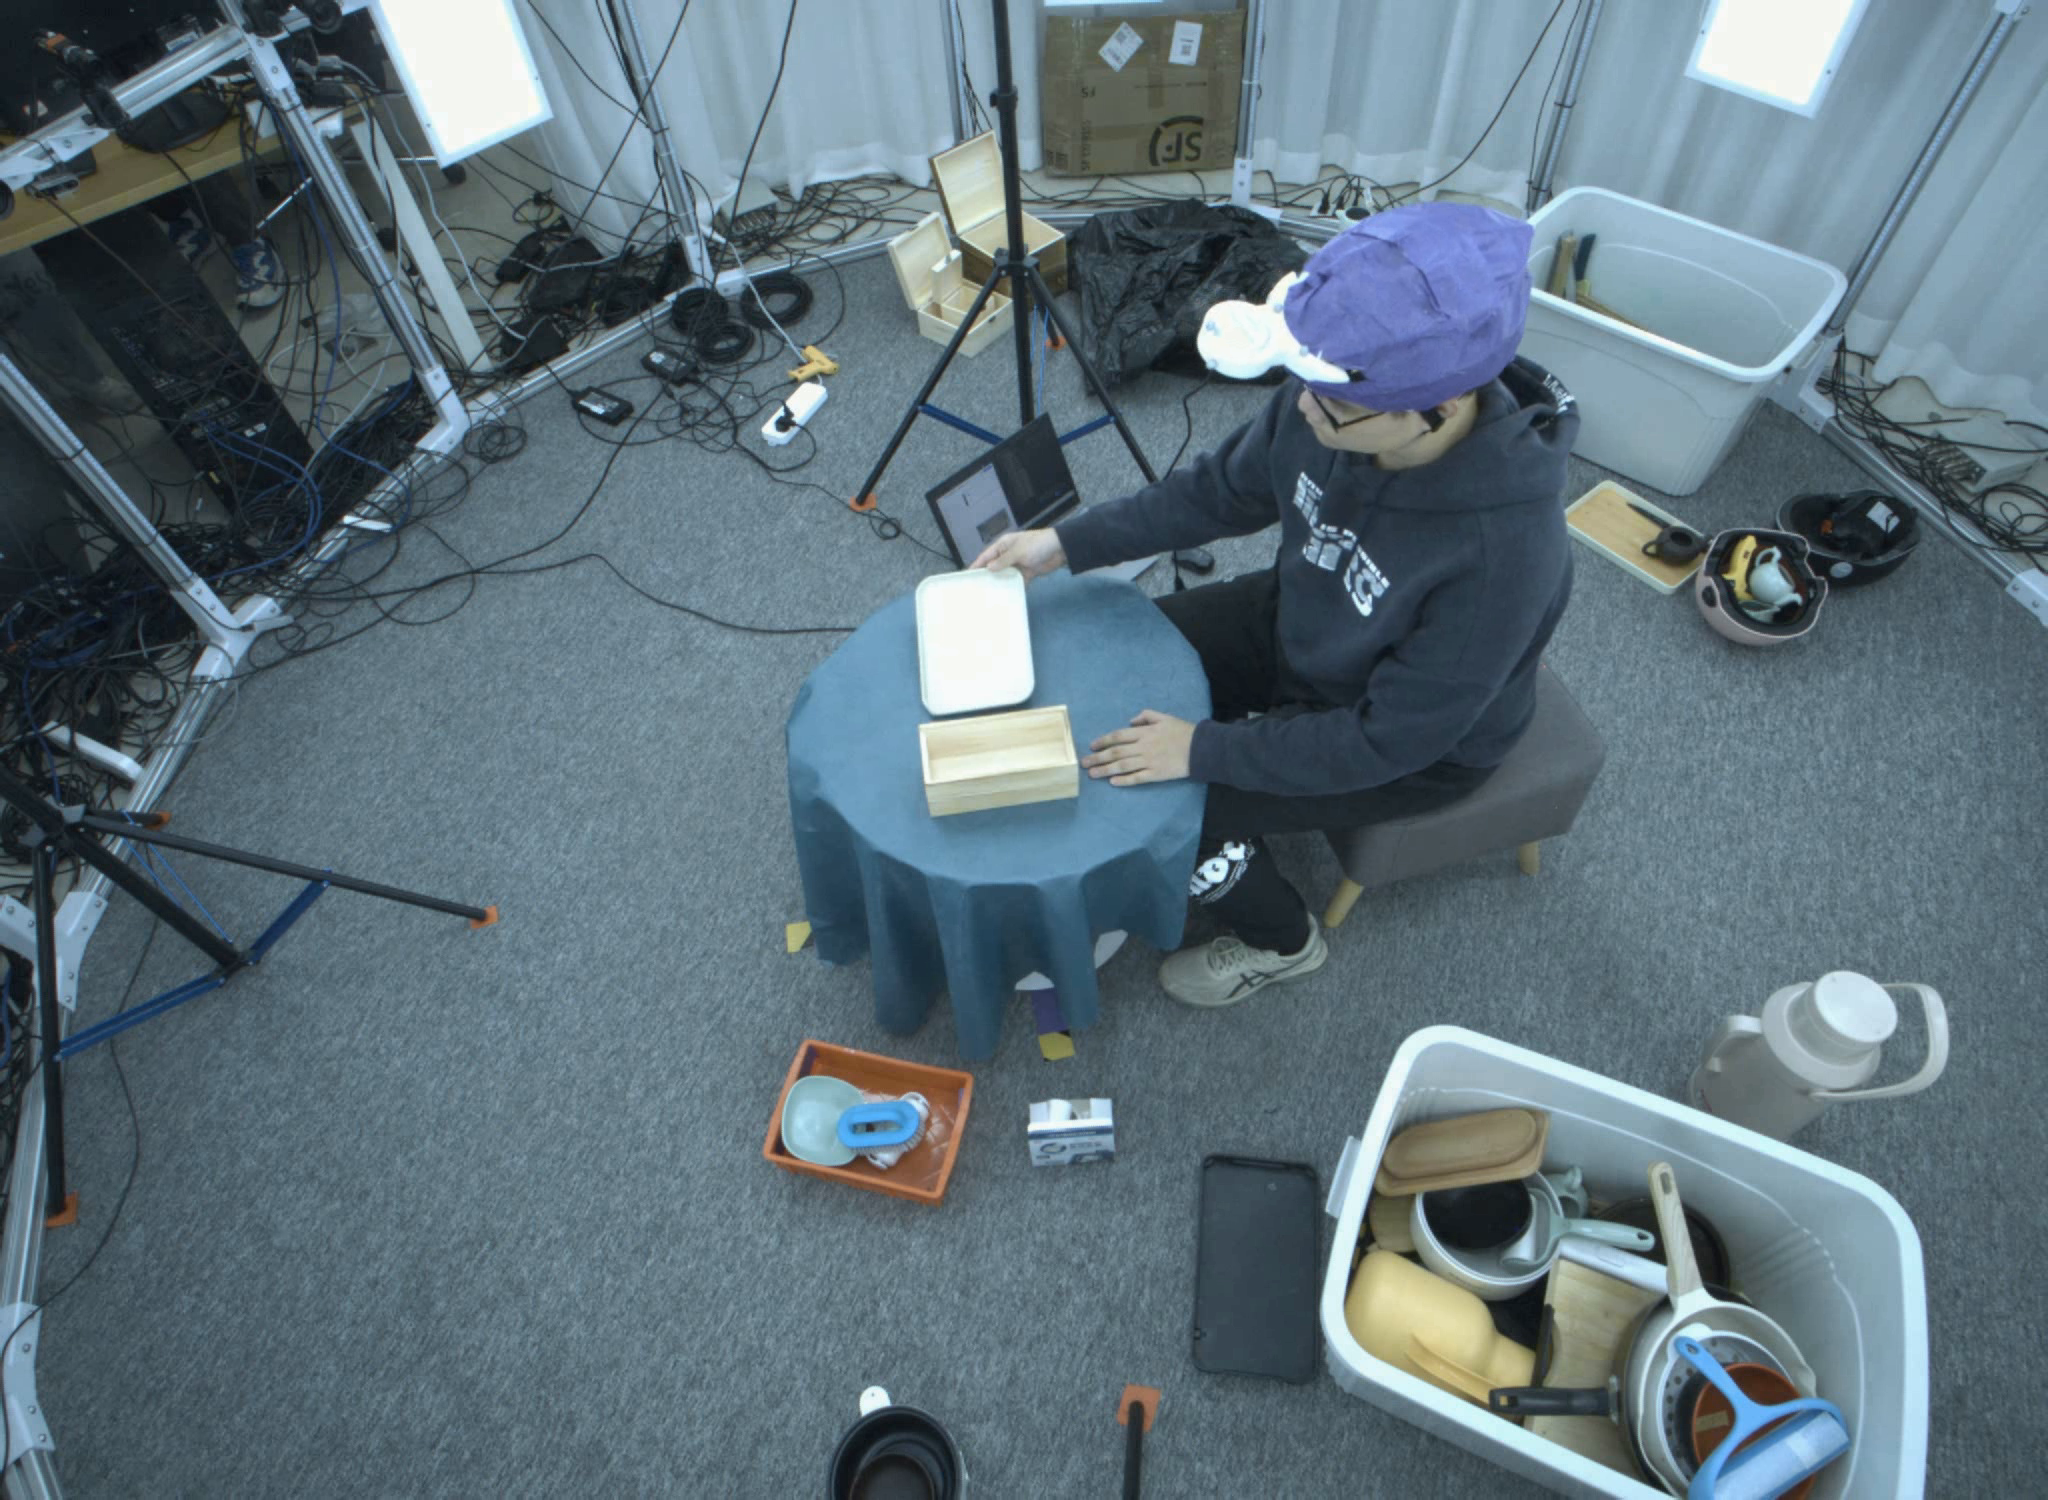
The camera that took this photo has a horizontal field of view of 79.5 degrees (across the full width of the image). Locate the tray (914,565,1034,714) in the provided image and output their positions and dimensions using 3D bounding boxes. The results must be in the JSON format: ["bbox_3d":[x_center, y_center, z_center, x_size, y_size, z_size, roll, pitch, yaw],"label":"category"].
[{"bbox_3d":[-0.077,-0.168,1.862,0.171,0.018,0.237,-8,67,3],"label":"tray"}]

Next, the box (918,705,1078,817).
[{"bbox_3d":[-0.036,0.015,1.729,0.212,0.081,0.106,-8,55,-4],"label":"box"}]
